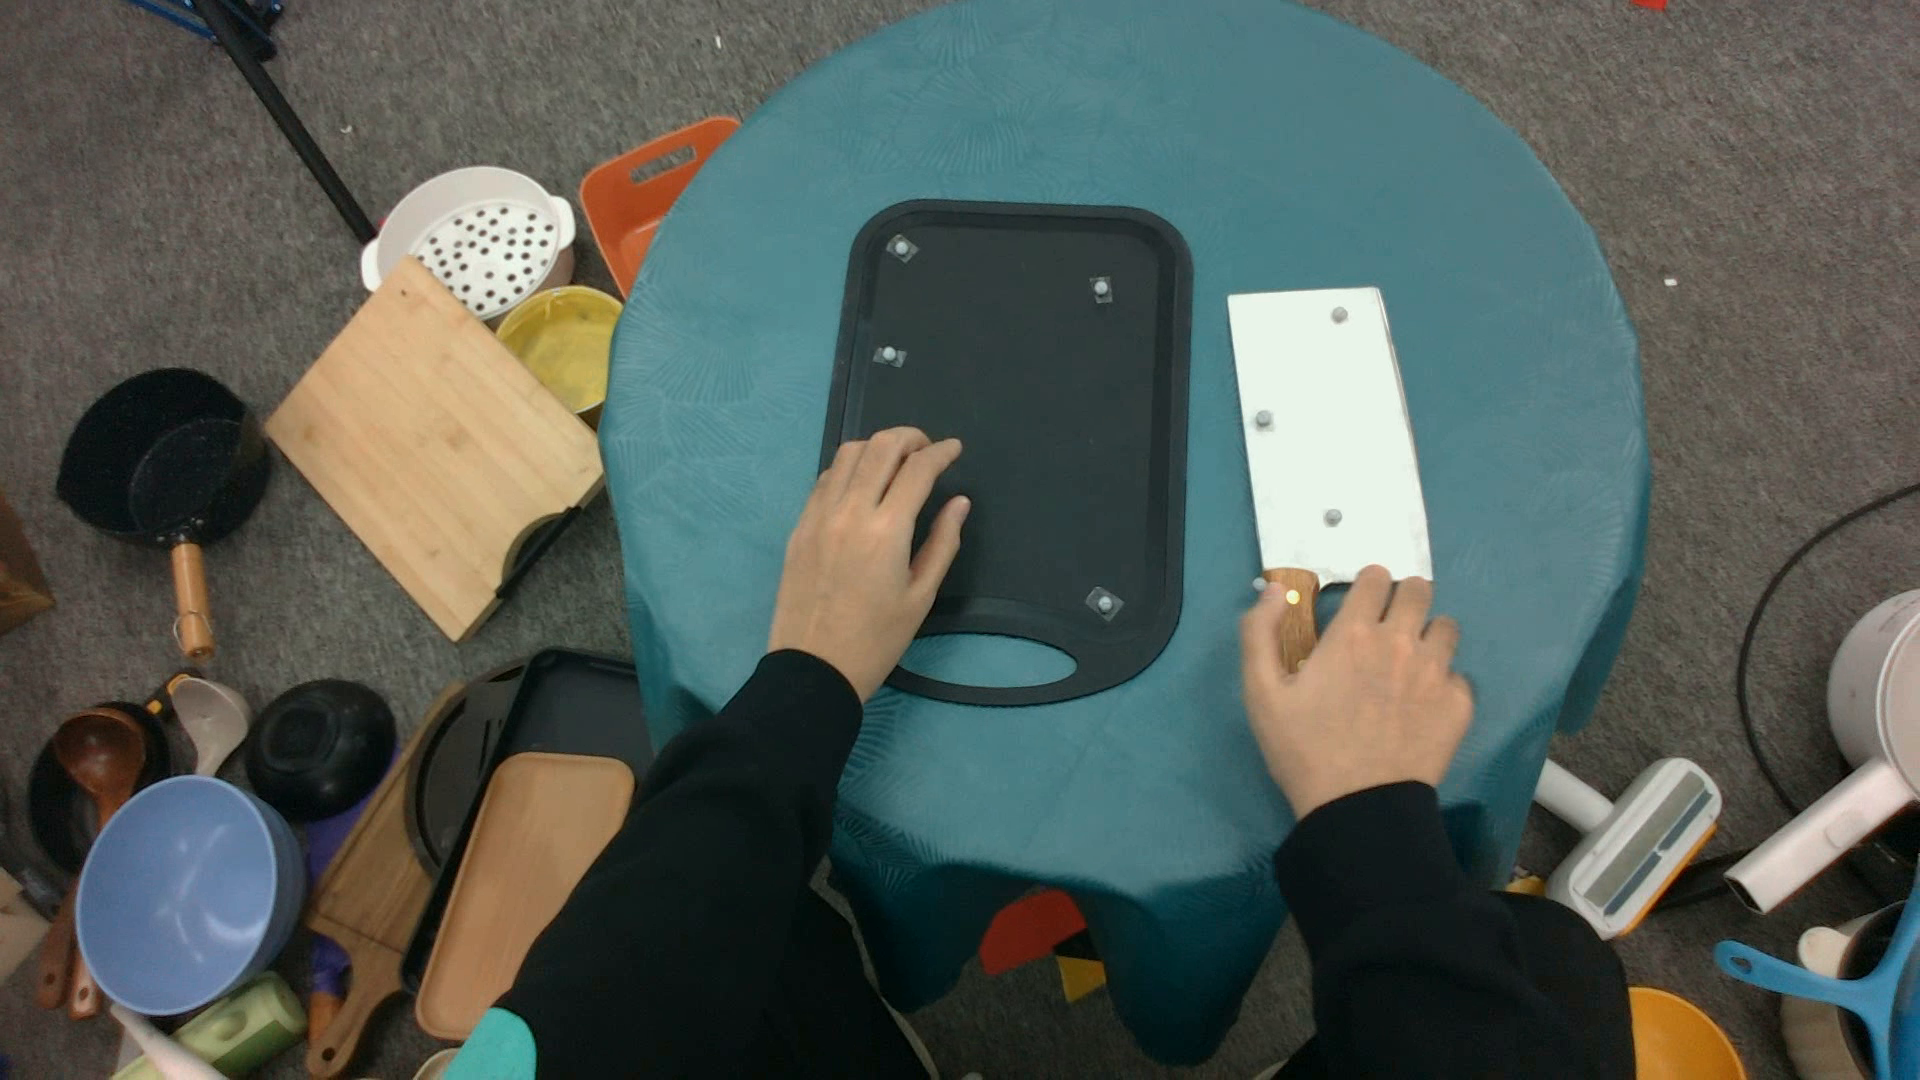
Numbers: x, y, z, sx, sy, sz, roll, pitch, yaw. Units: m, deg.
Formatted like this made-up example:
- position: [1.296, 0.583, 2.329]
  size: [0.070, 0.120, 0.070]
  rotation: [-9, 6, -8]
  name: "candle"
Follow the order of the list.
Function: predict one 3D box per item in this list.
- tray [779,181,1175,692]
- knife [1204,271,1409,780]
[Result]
- position: [0.014, -0.070, 0.786]
  size: [0.211, 0.010, 0.326]
  rotation: [4, 67, 4]
  name: "tray"
- position: [0.195, -0.020, 0.753]
  size: [0.093, 0.021, 0.307]
  rotation: [-2, 65, 0]
  name: "knife"
